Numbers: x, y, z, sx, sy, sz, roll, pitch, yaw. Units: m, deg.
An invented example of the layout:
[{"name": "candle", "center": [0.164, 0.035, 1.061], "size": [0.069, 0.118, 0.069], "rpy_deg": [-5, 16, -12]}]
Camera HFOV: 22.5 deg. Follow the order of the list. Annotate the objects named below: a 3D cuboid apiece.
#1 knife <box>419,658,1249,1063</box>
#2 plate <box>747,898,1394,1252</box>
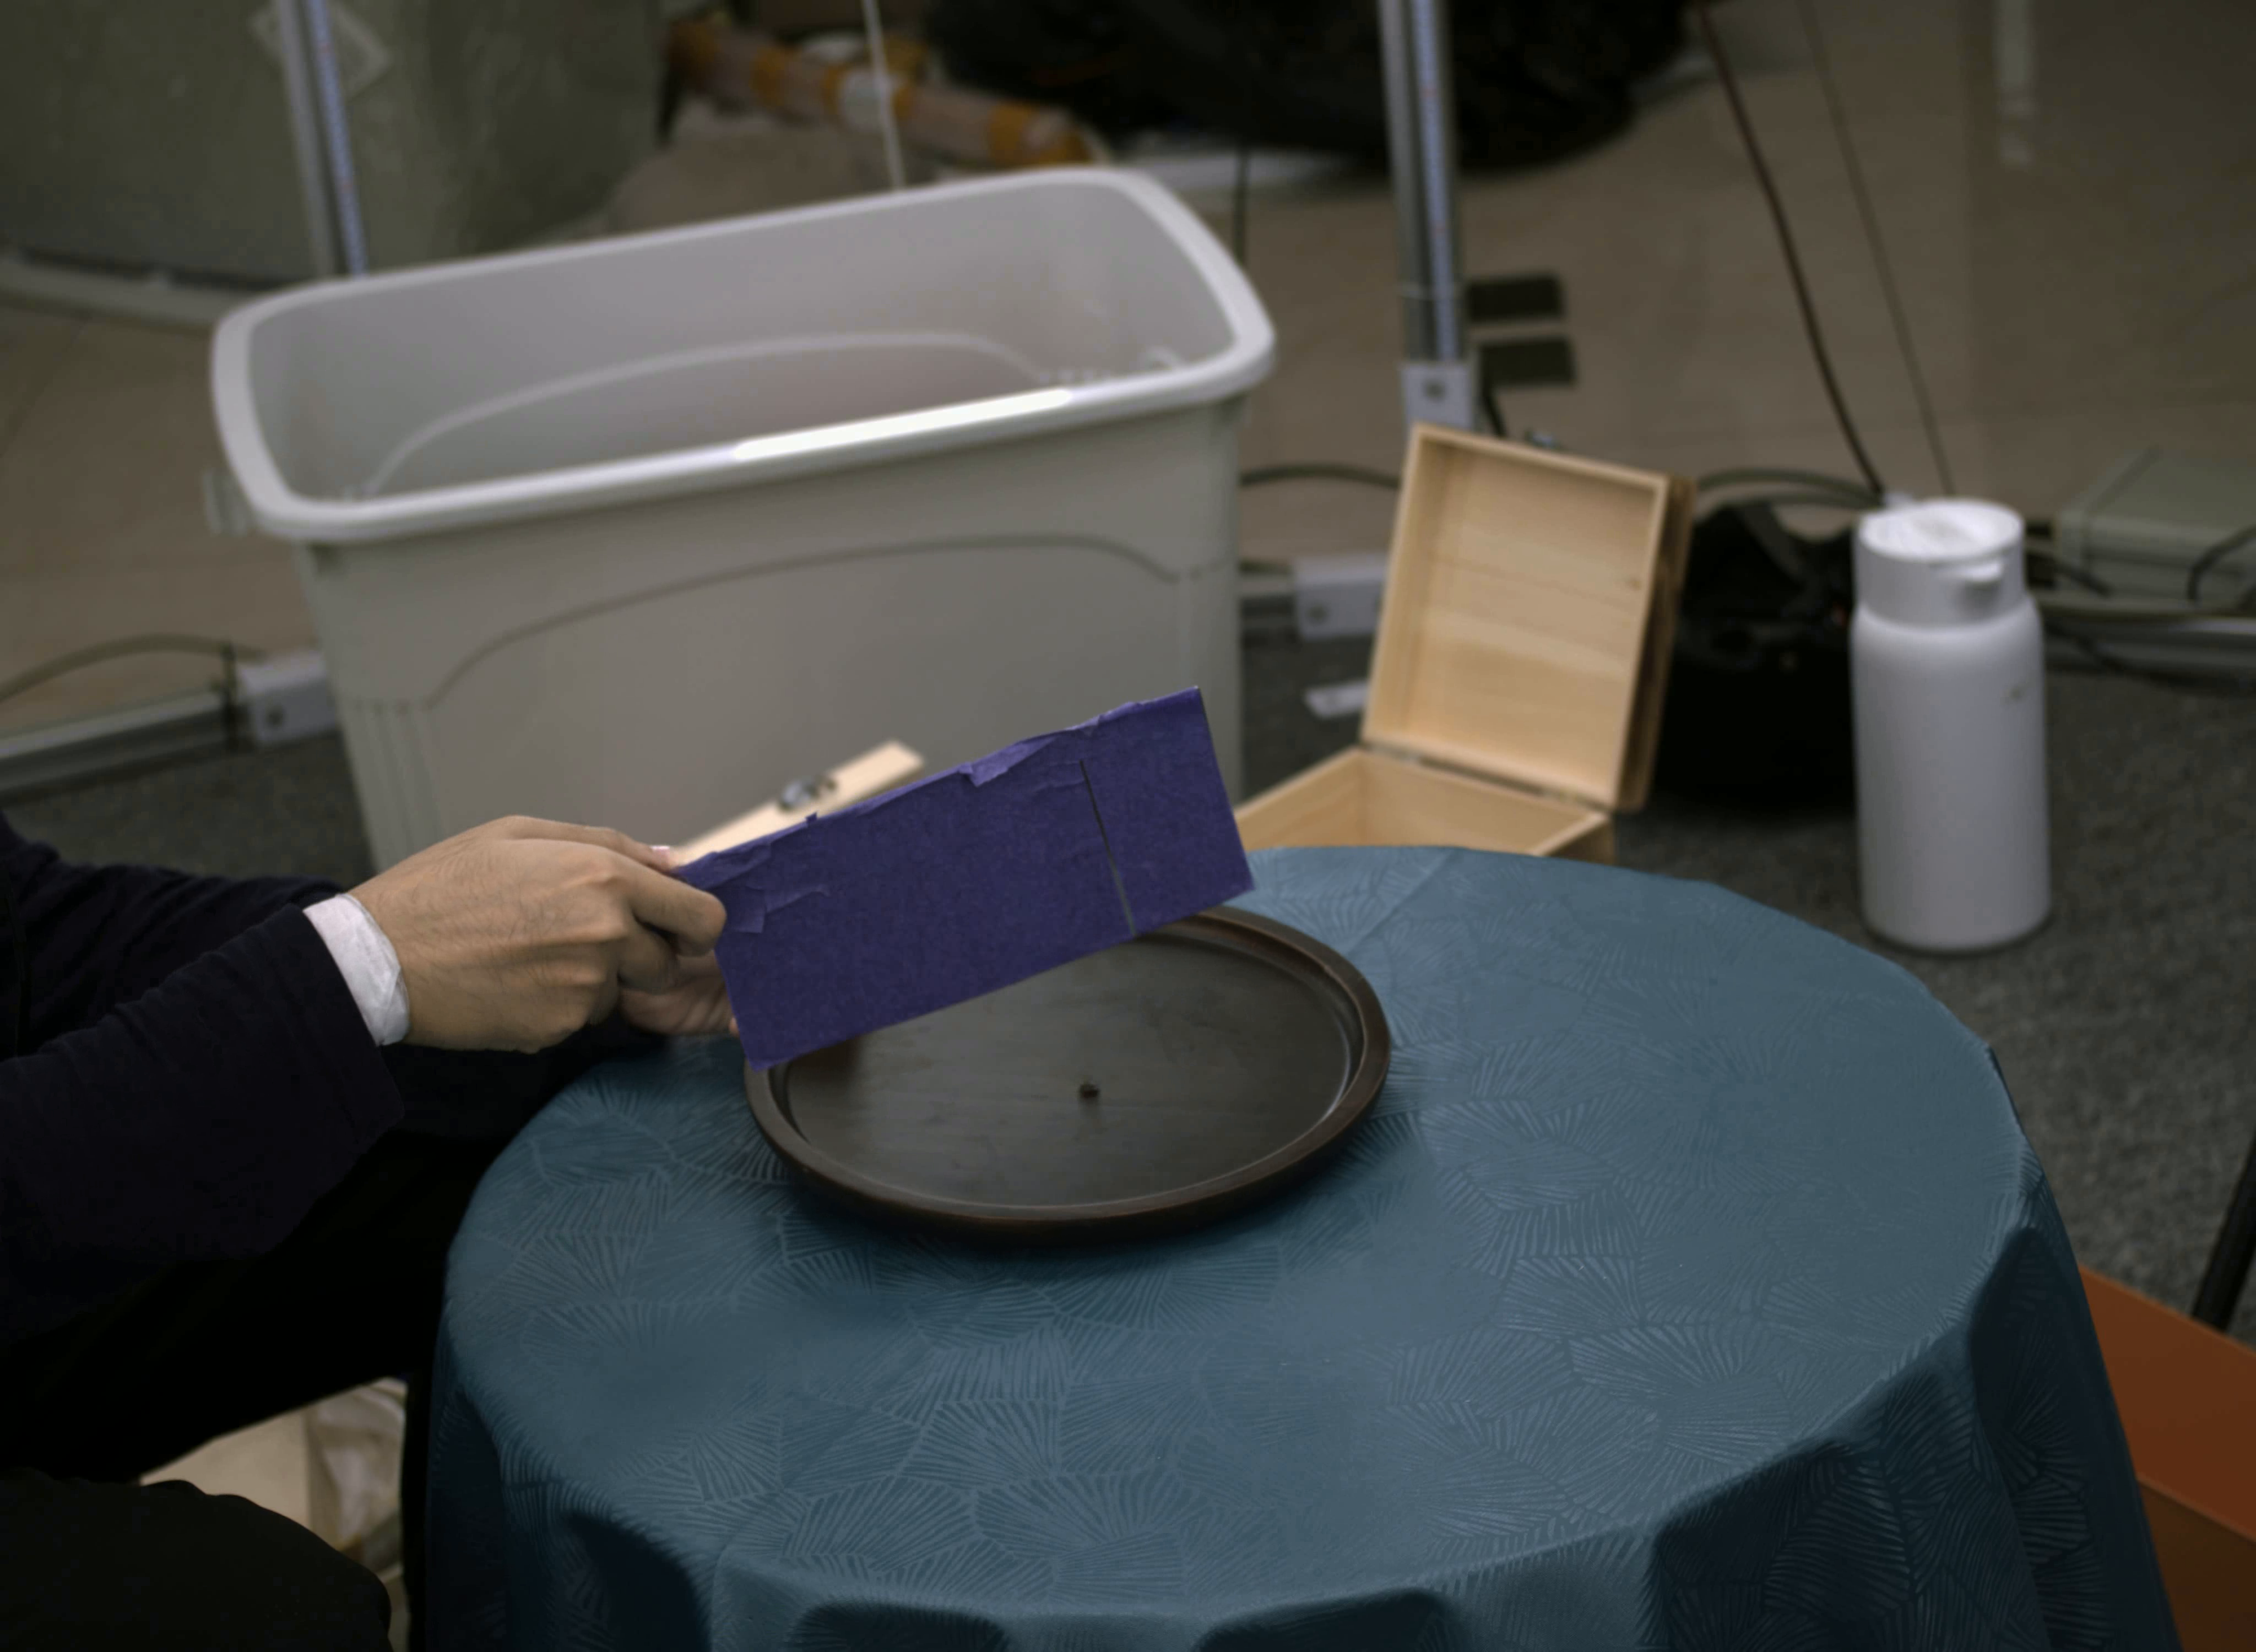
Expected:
[{"name": "knife", "center": [-0.104, 0.034, 2.120], "size": [0.314, 0.105, 0.032], "rpy_deg": [-20, 24, -9]}, {"name": "plate", "center": [-0.022, 0.095, 2.204], "size": [0.254, 0.029, 0.251], "rpy_deg": [-2, 28, 1]}]
